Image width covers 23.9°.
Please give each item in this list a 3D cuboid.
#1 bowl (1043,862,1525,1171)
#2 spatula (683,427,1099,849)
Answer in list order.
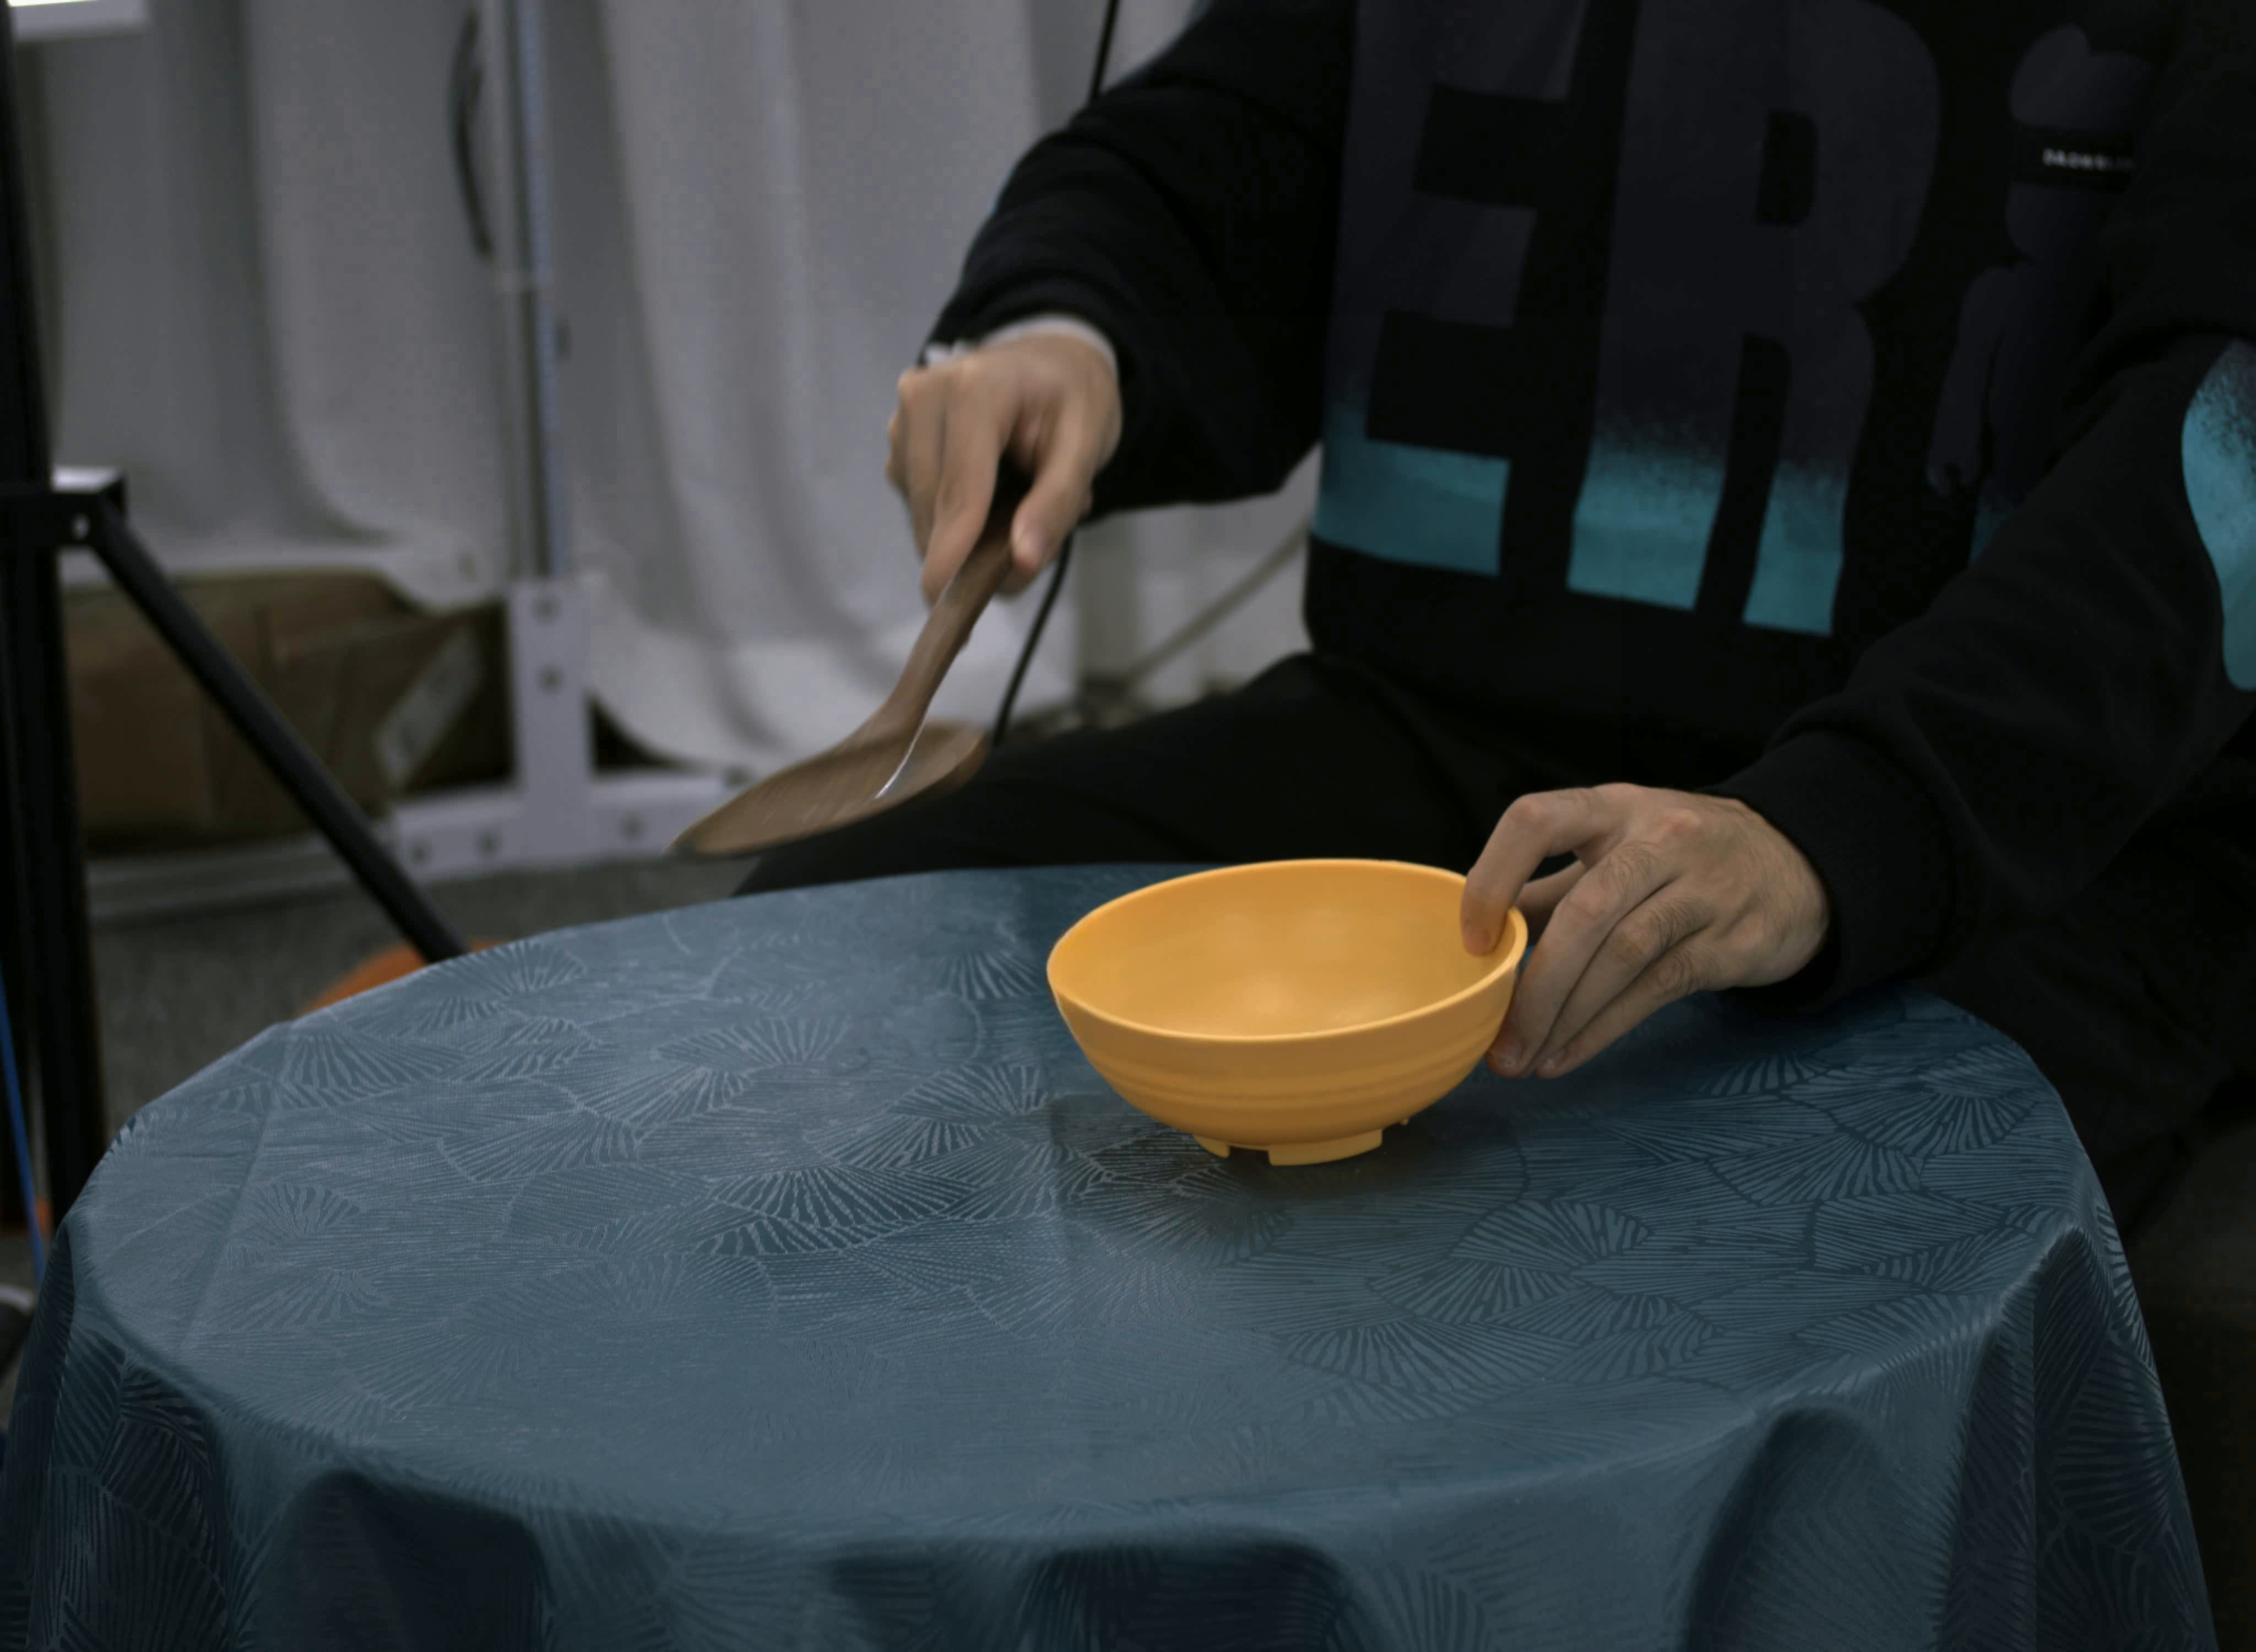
[{"bbox_3d":[0.048,0.064,1.595,0.144,0.060,0.146,-3,20,0],"label":"bowl"},{"bbox_3d":[-0.055,-0.068,1.707,0.097,0.015,0.385,-16,18,17],"label":"spatula"}]
